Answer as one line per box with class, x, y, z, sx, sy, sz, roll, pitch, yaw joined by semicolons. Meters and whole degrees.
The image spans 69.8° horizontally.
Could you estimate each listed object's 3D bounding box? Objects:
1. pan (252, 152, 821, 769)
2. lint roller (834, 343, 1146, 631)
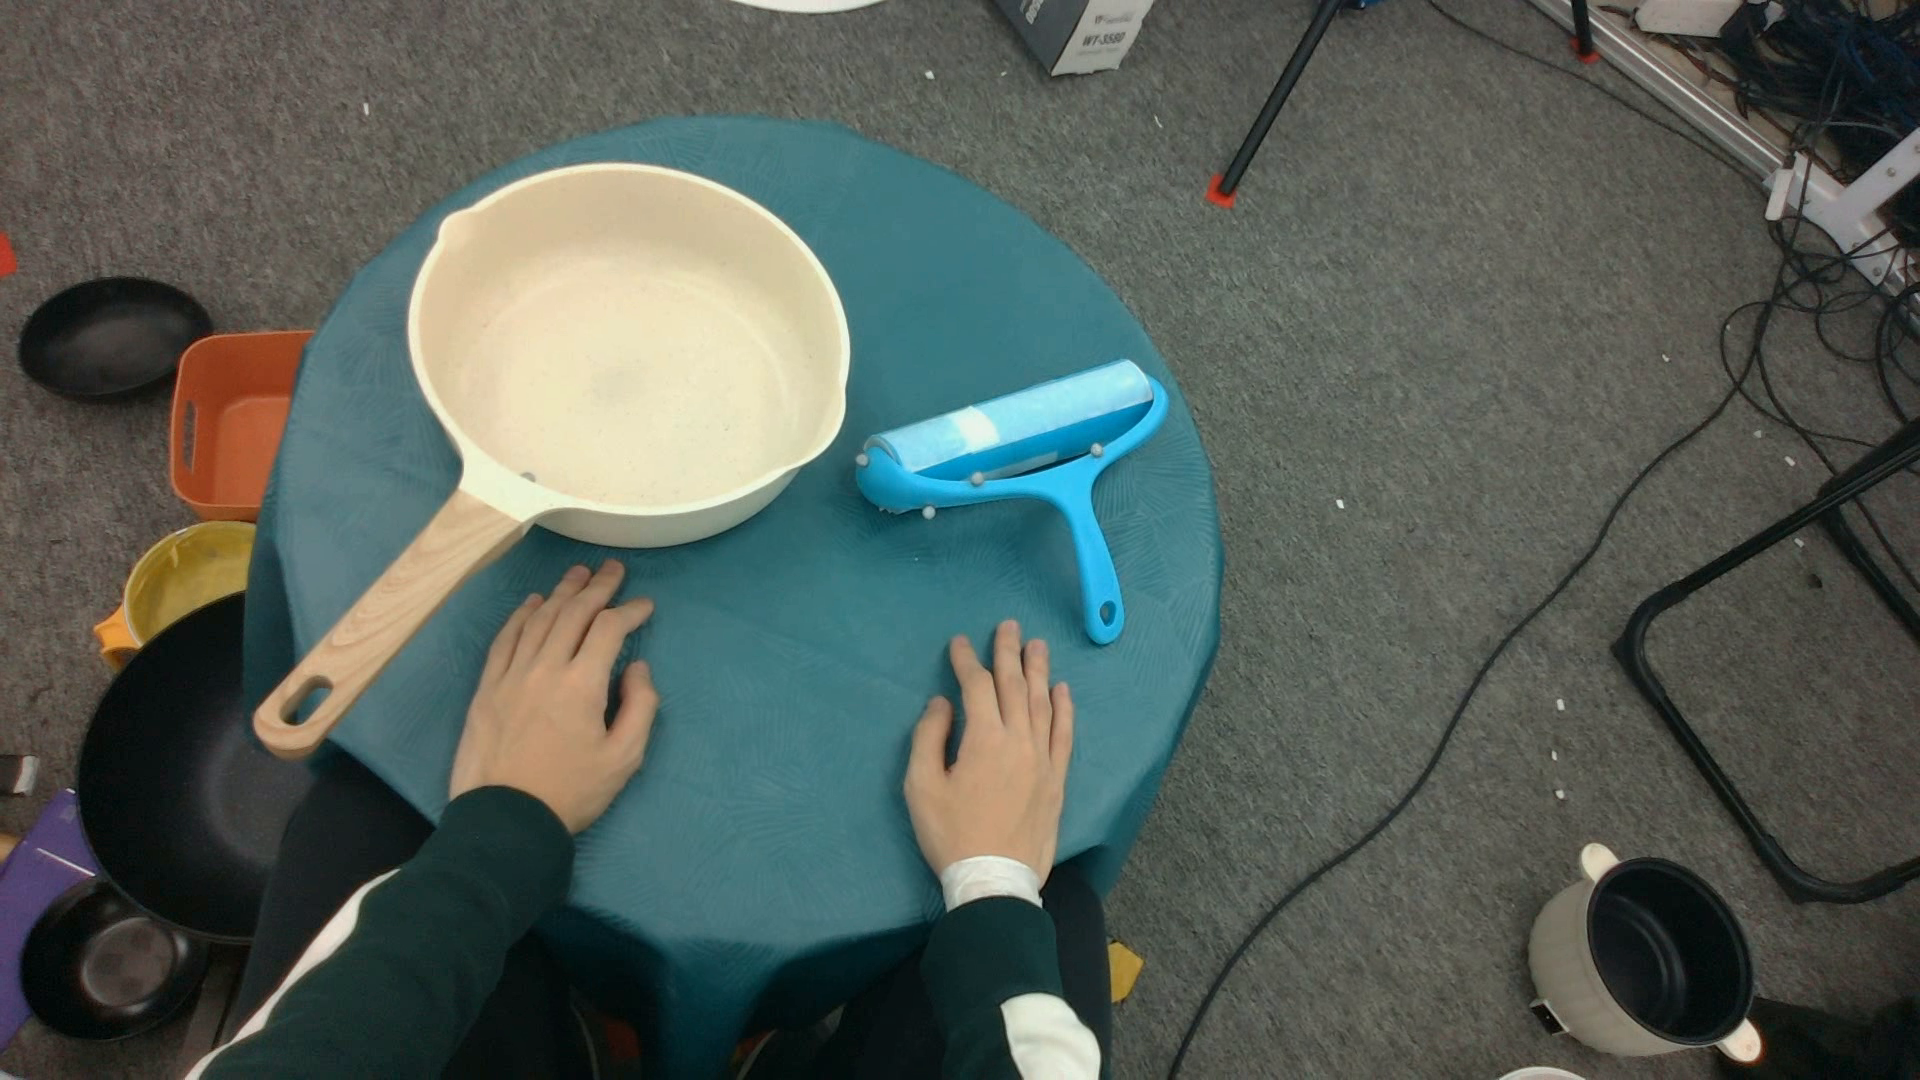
pan;-0.250;-0.046;0.791;0.263;0.101;0.437;28;59;-1
lint roller;0.051;-0.031;0.893;0.230;0.067;0.180;-23;71;-27
